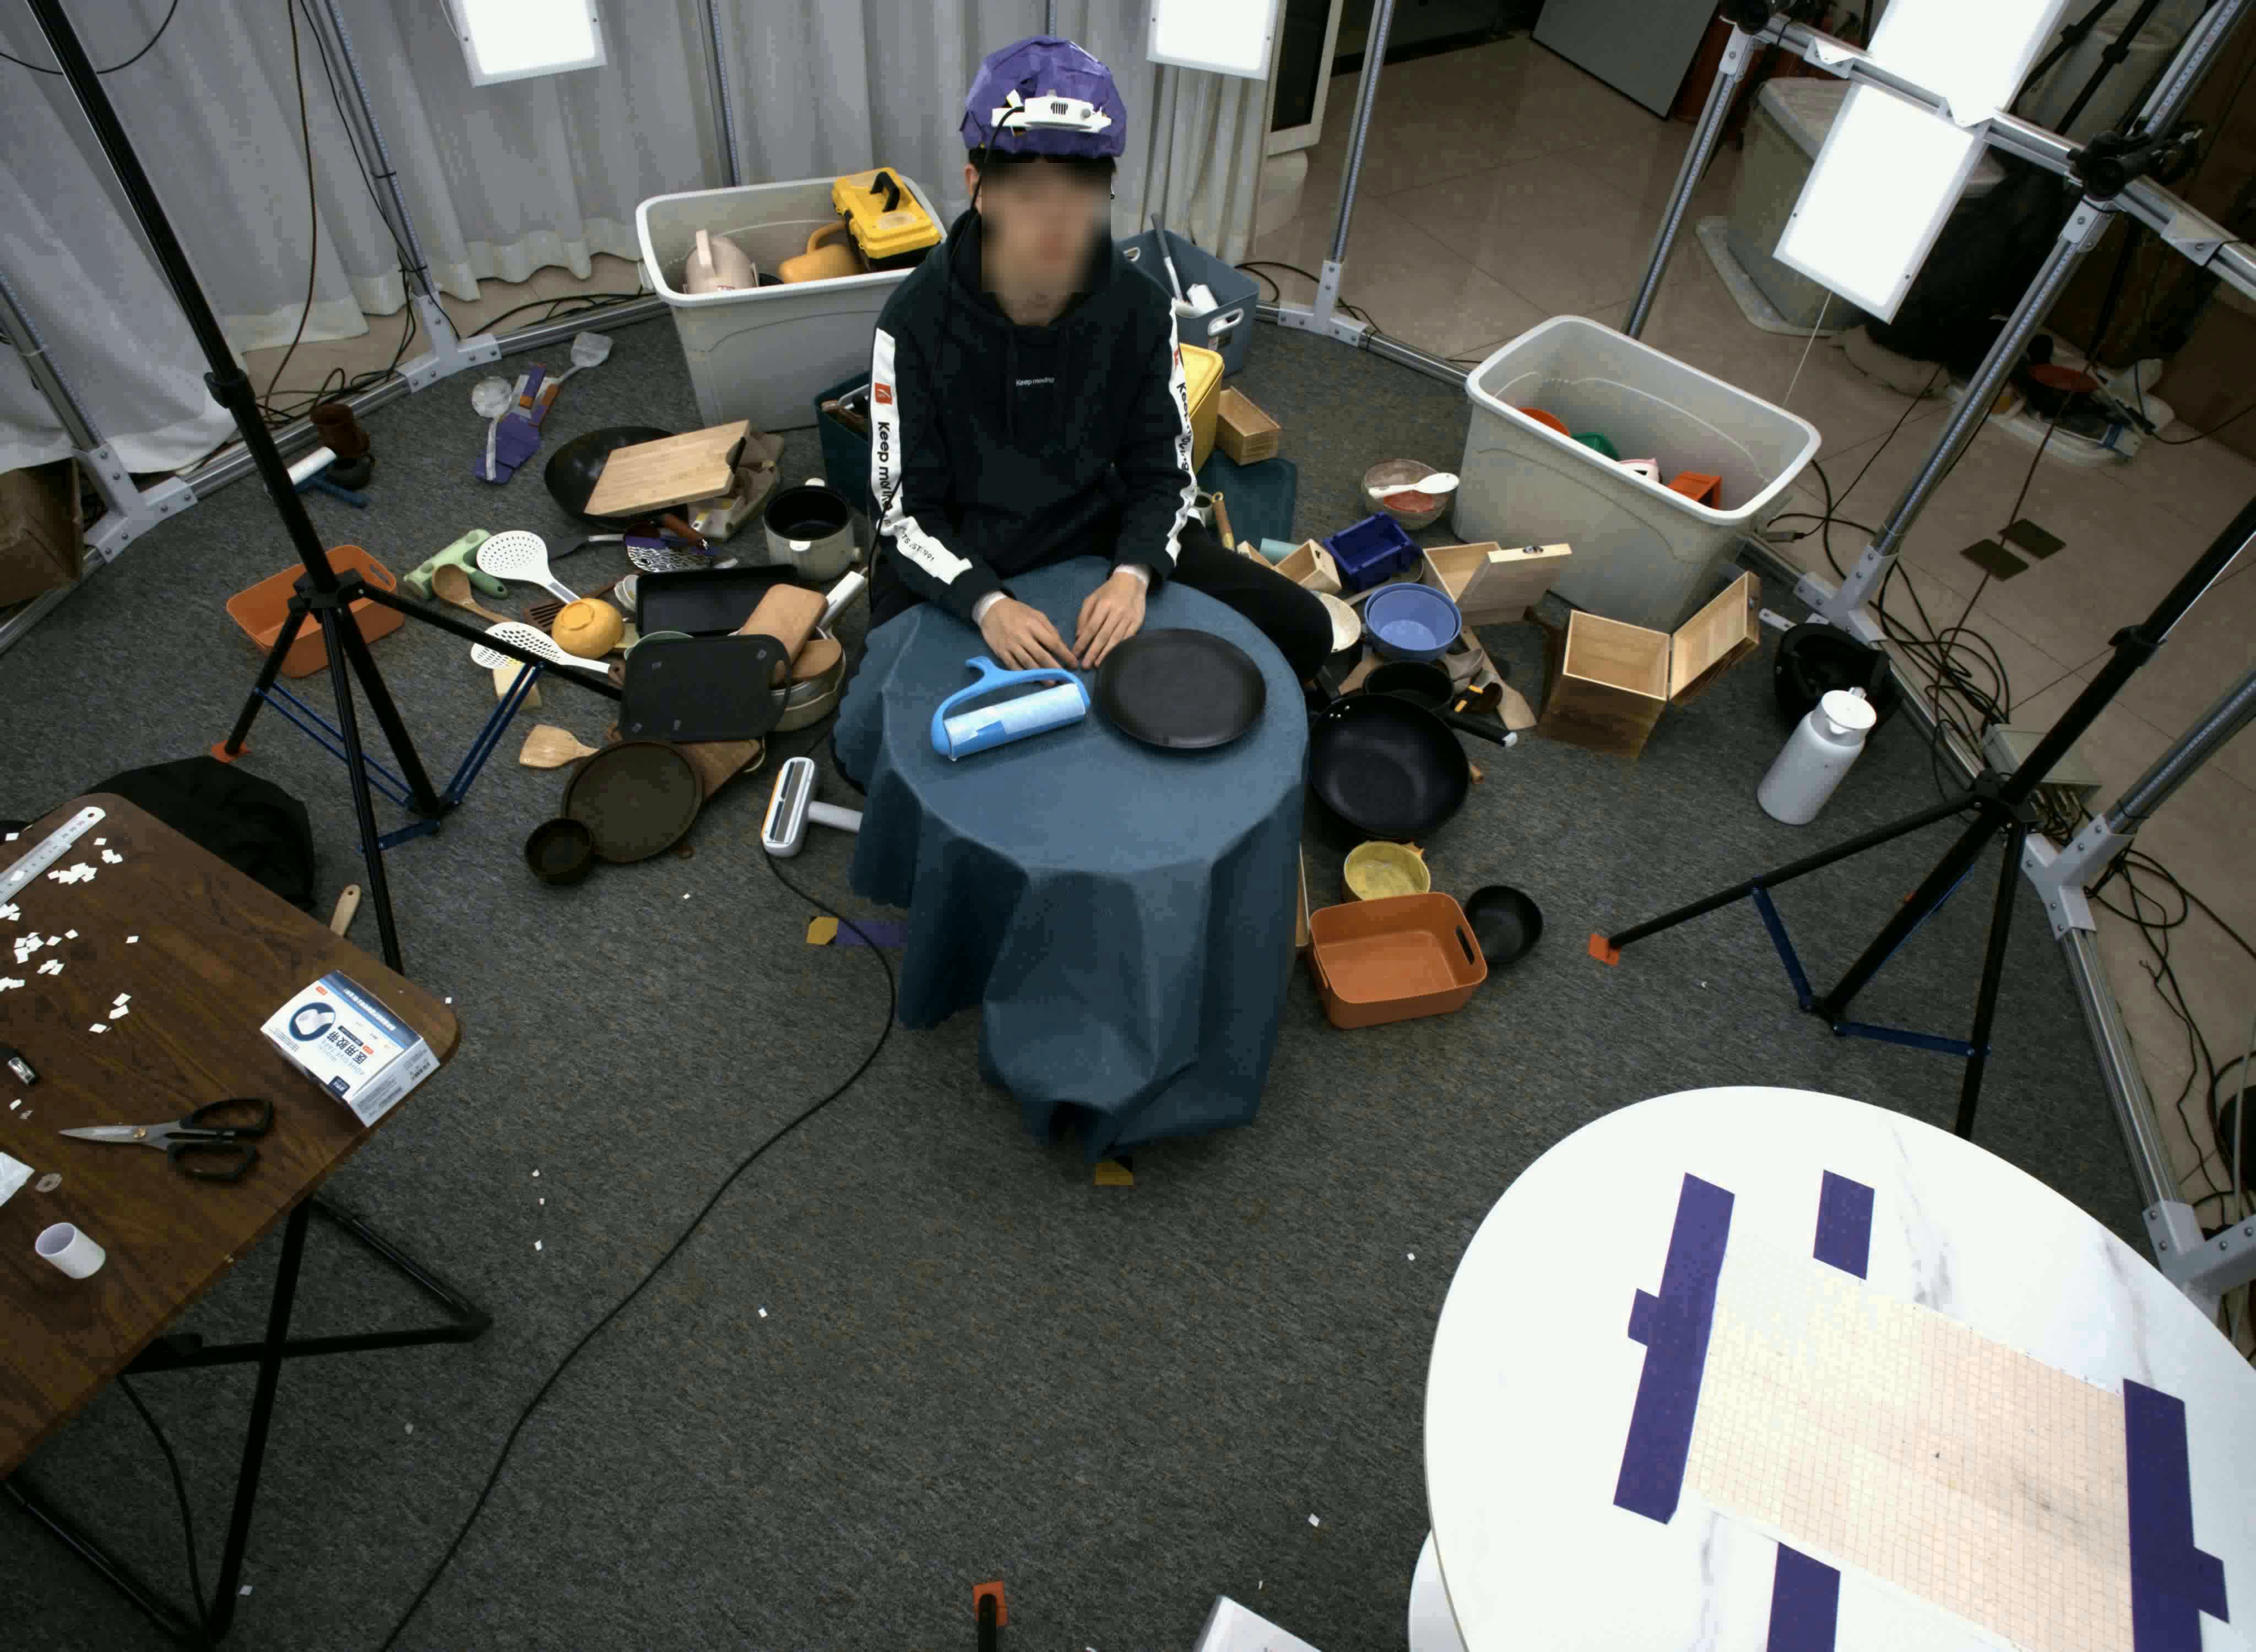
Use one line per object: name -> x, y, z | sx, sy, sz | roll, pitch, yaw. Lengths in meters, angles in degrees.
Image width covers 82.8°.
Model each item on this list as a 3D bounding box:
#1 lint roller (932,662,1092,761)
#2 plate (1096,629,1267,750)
lint roller -> -0.183, -0.184, 1.780 | 0.229, 0.066, 0.184 | -21, 53, -20
plate -> 0.076, -0.191, 1.824 | 0.244, 0.023, 0.250 | 2, 49, -2
